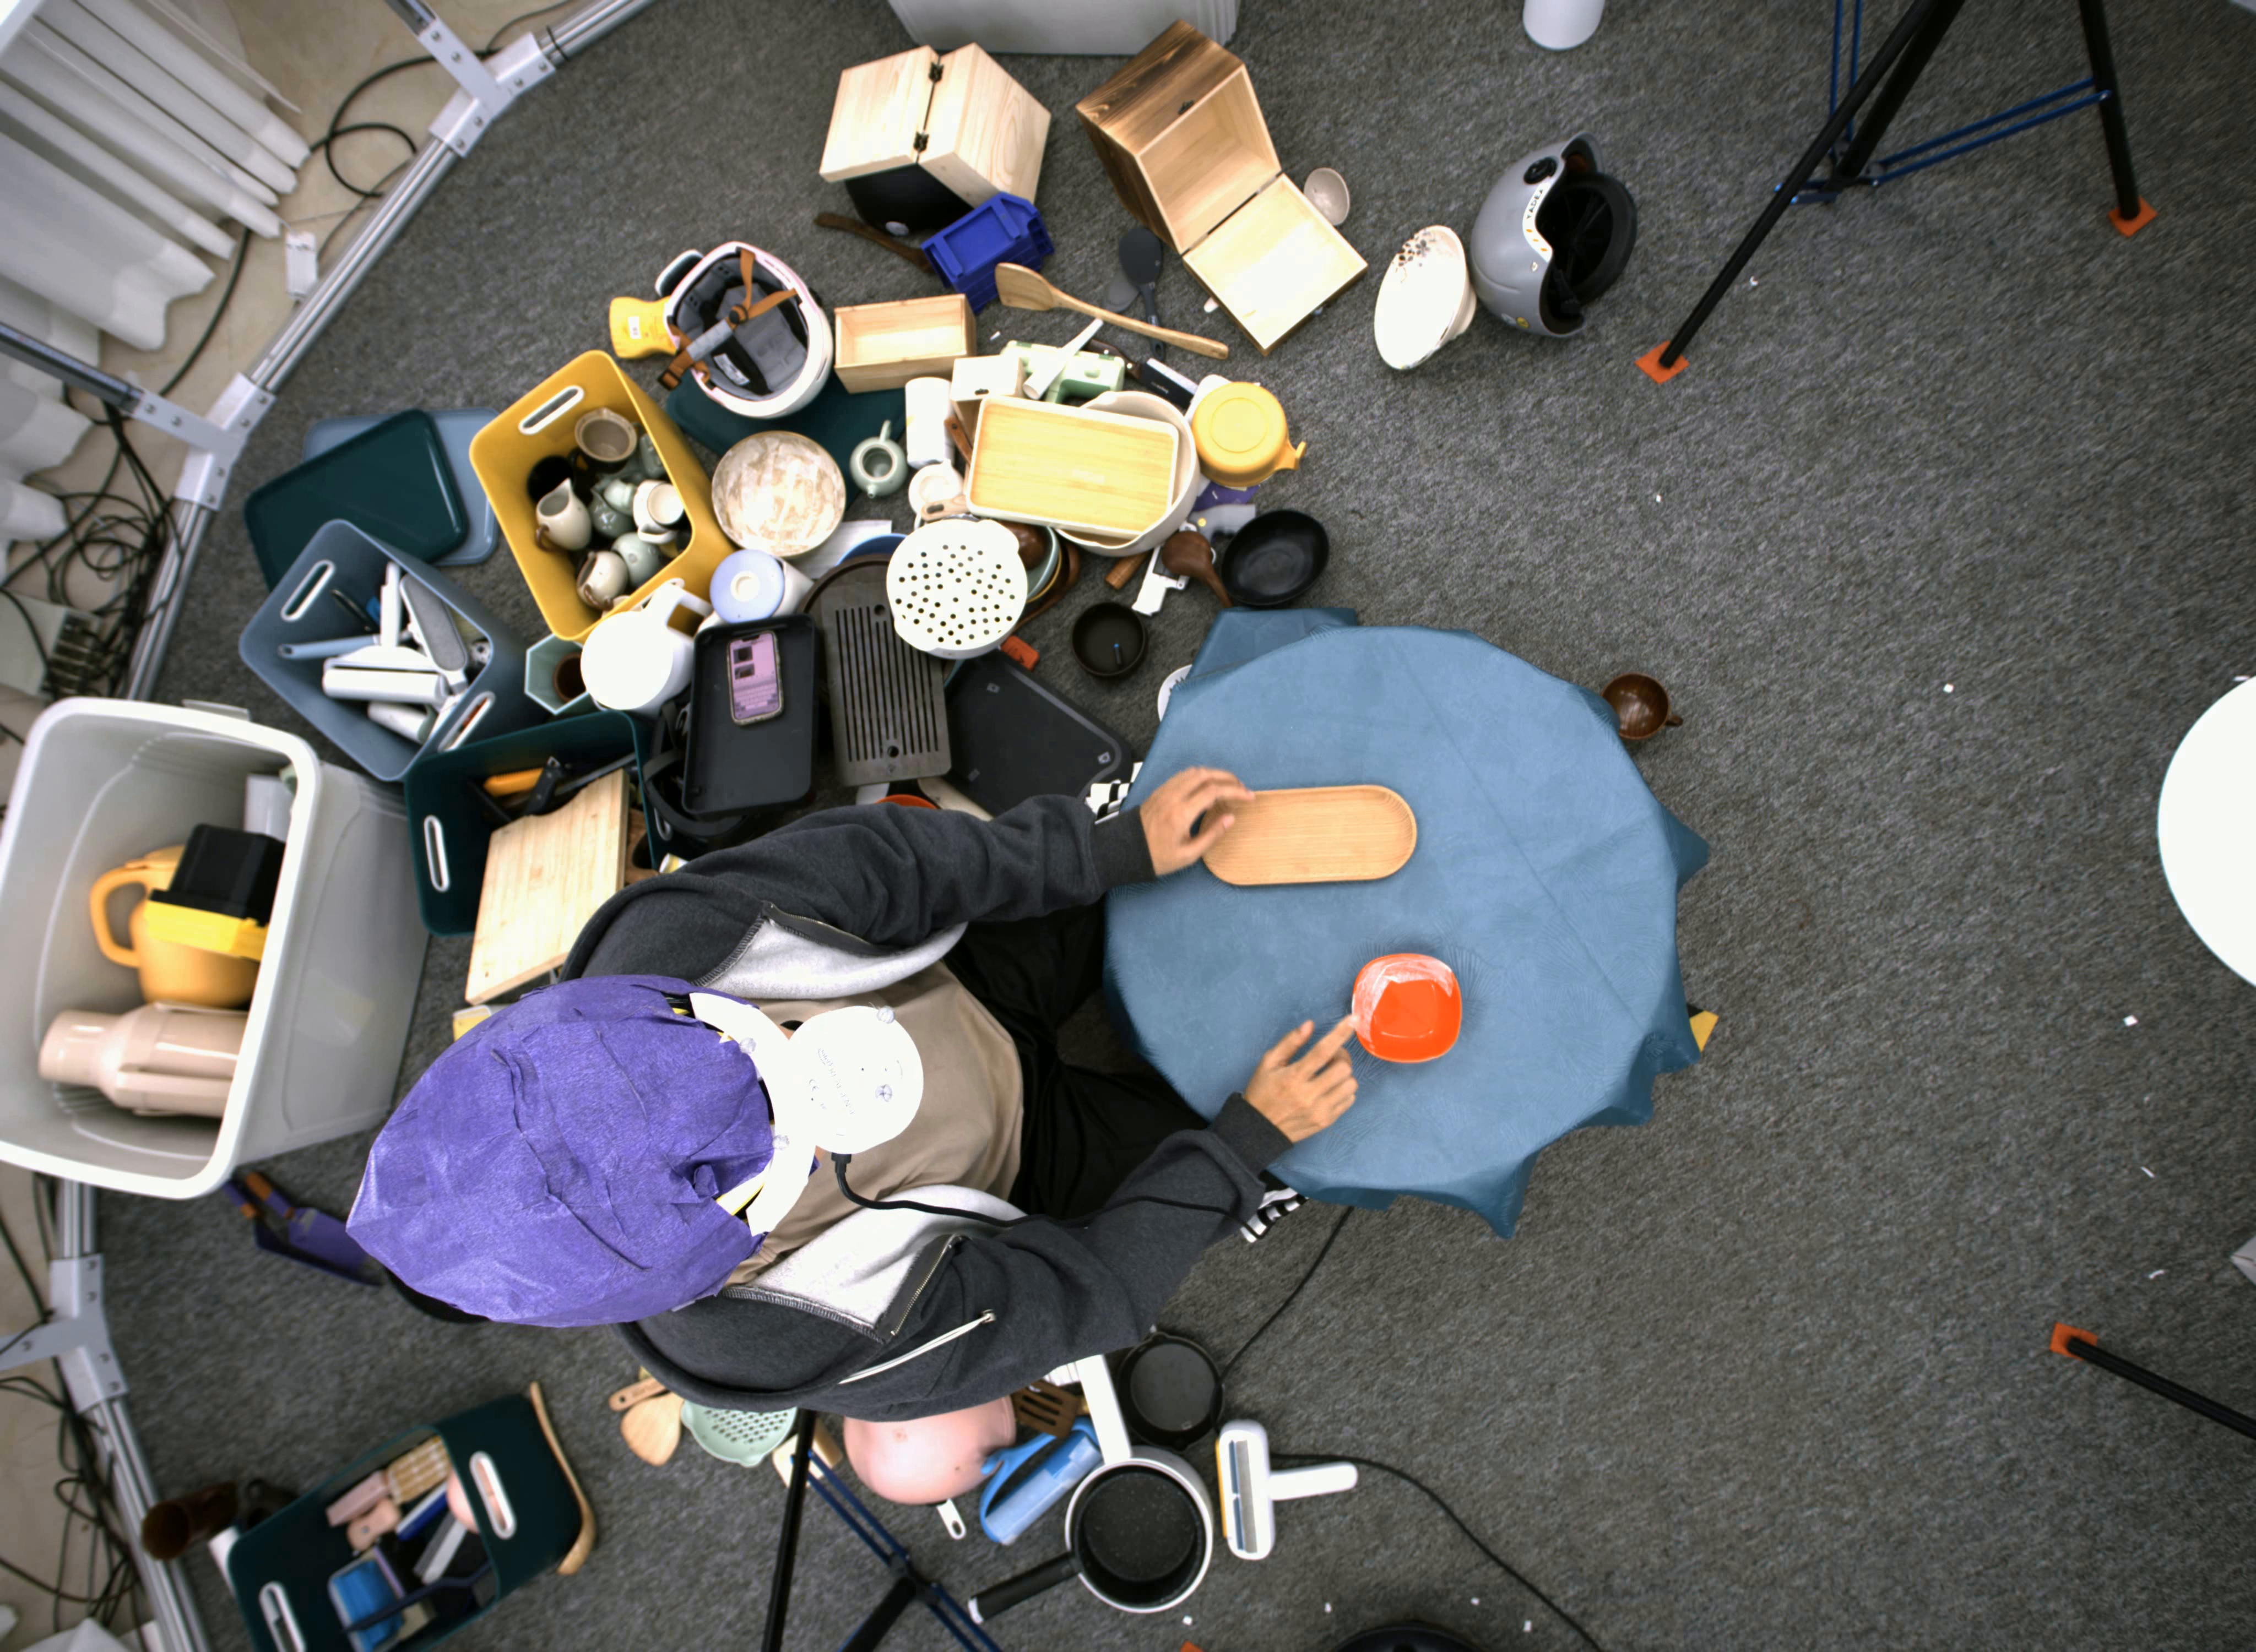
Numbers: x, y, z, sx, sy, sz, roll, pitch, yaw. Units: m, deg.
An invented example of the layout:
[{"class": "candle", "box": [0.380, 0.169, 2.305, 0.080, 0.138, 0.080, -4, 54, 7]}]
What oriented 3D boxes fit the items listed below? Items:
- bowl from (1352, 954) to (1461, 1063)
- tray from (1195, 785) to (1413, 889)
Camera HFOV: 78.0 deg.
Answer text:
[{"class": "bowl", "box": [0.286, 0.185, 1.423, 0.119, 0.051, 0.118, -1, 87, 9]}, {"class": "tray", "box": [0.186, 0.011, 1.470, 0.232, 0.020, 0.101, -5, 85, 11]}]
